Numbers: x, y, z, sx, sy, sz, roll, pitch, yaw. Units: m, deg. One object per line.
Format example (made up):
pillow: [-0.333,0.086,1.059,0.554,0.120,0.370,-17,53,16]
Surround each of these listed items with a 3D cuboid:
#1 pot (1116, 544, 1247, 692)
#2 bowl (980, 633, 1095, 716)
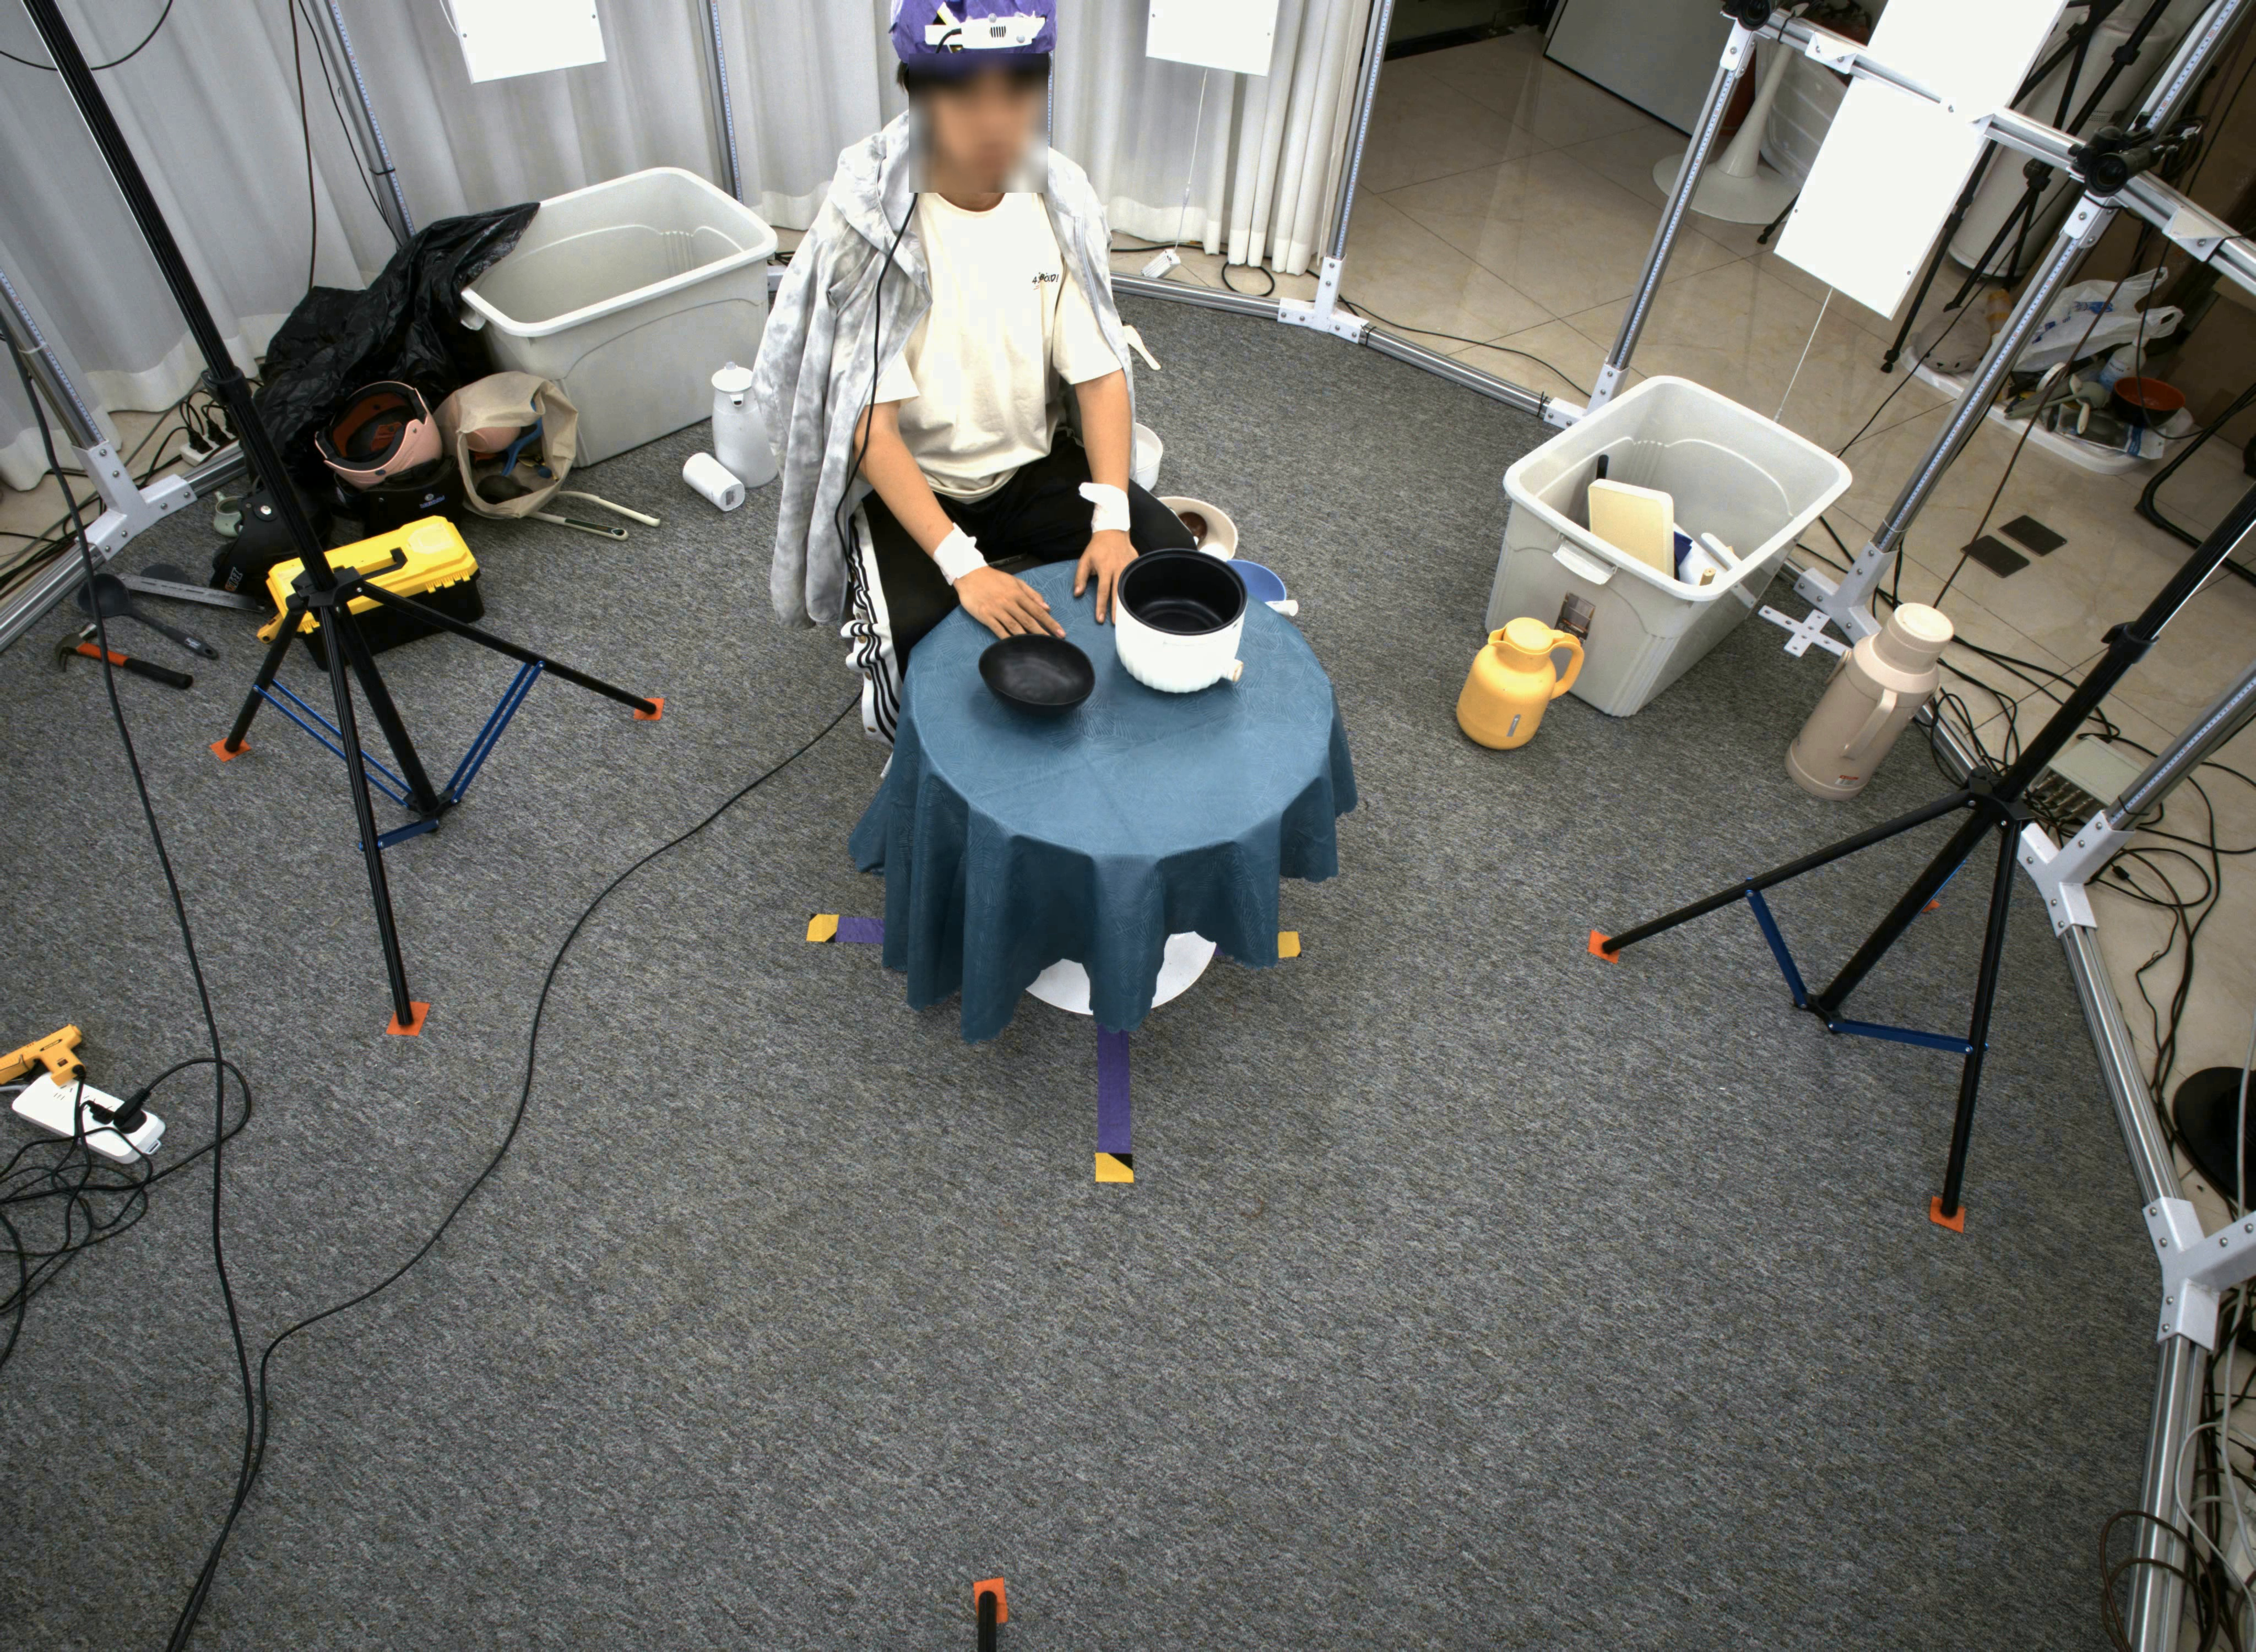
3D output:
pot: [0.077,-0.284,1.824,0.192,0.139,0.244,21,51,18]
bowl: [-0.127,-0.199,1.783,0.171,0.065,0.139,23,50,17]
